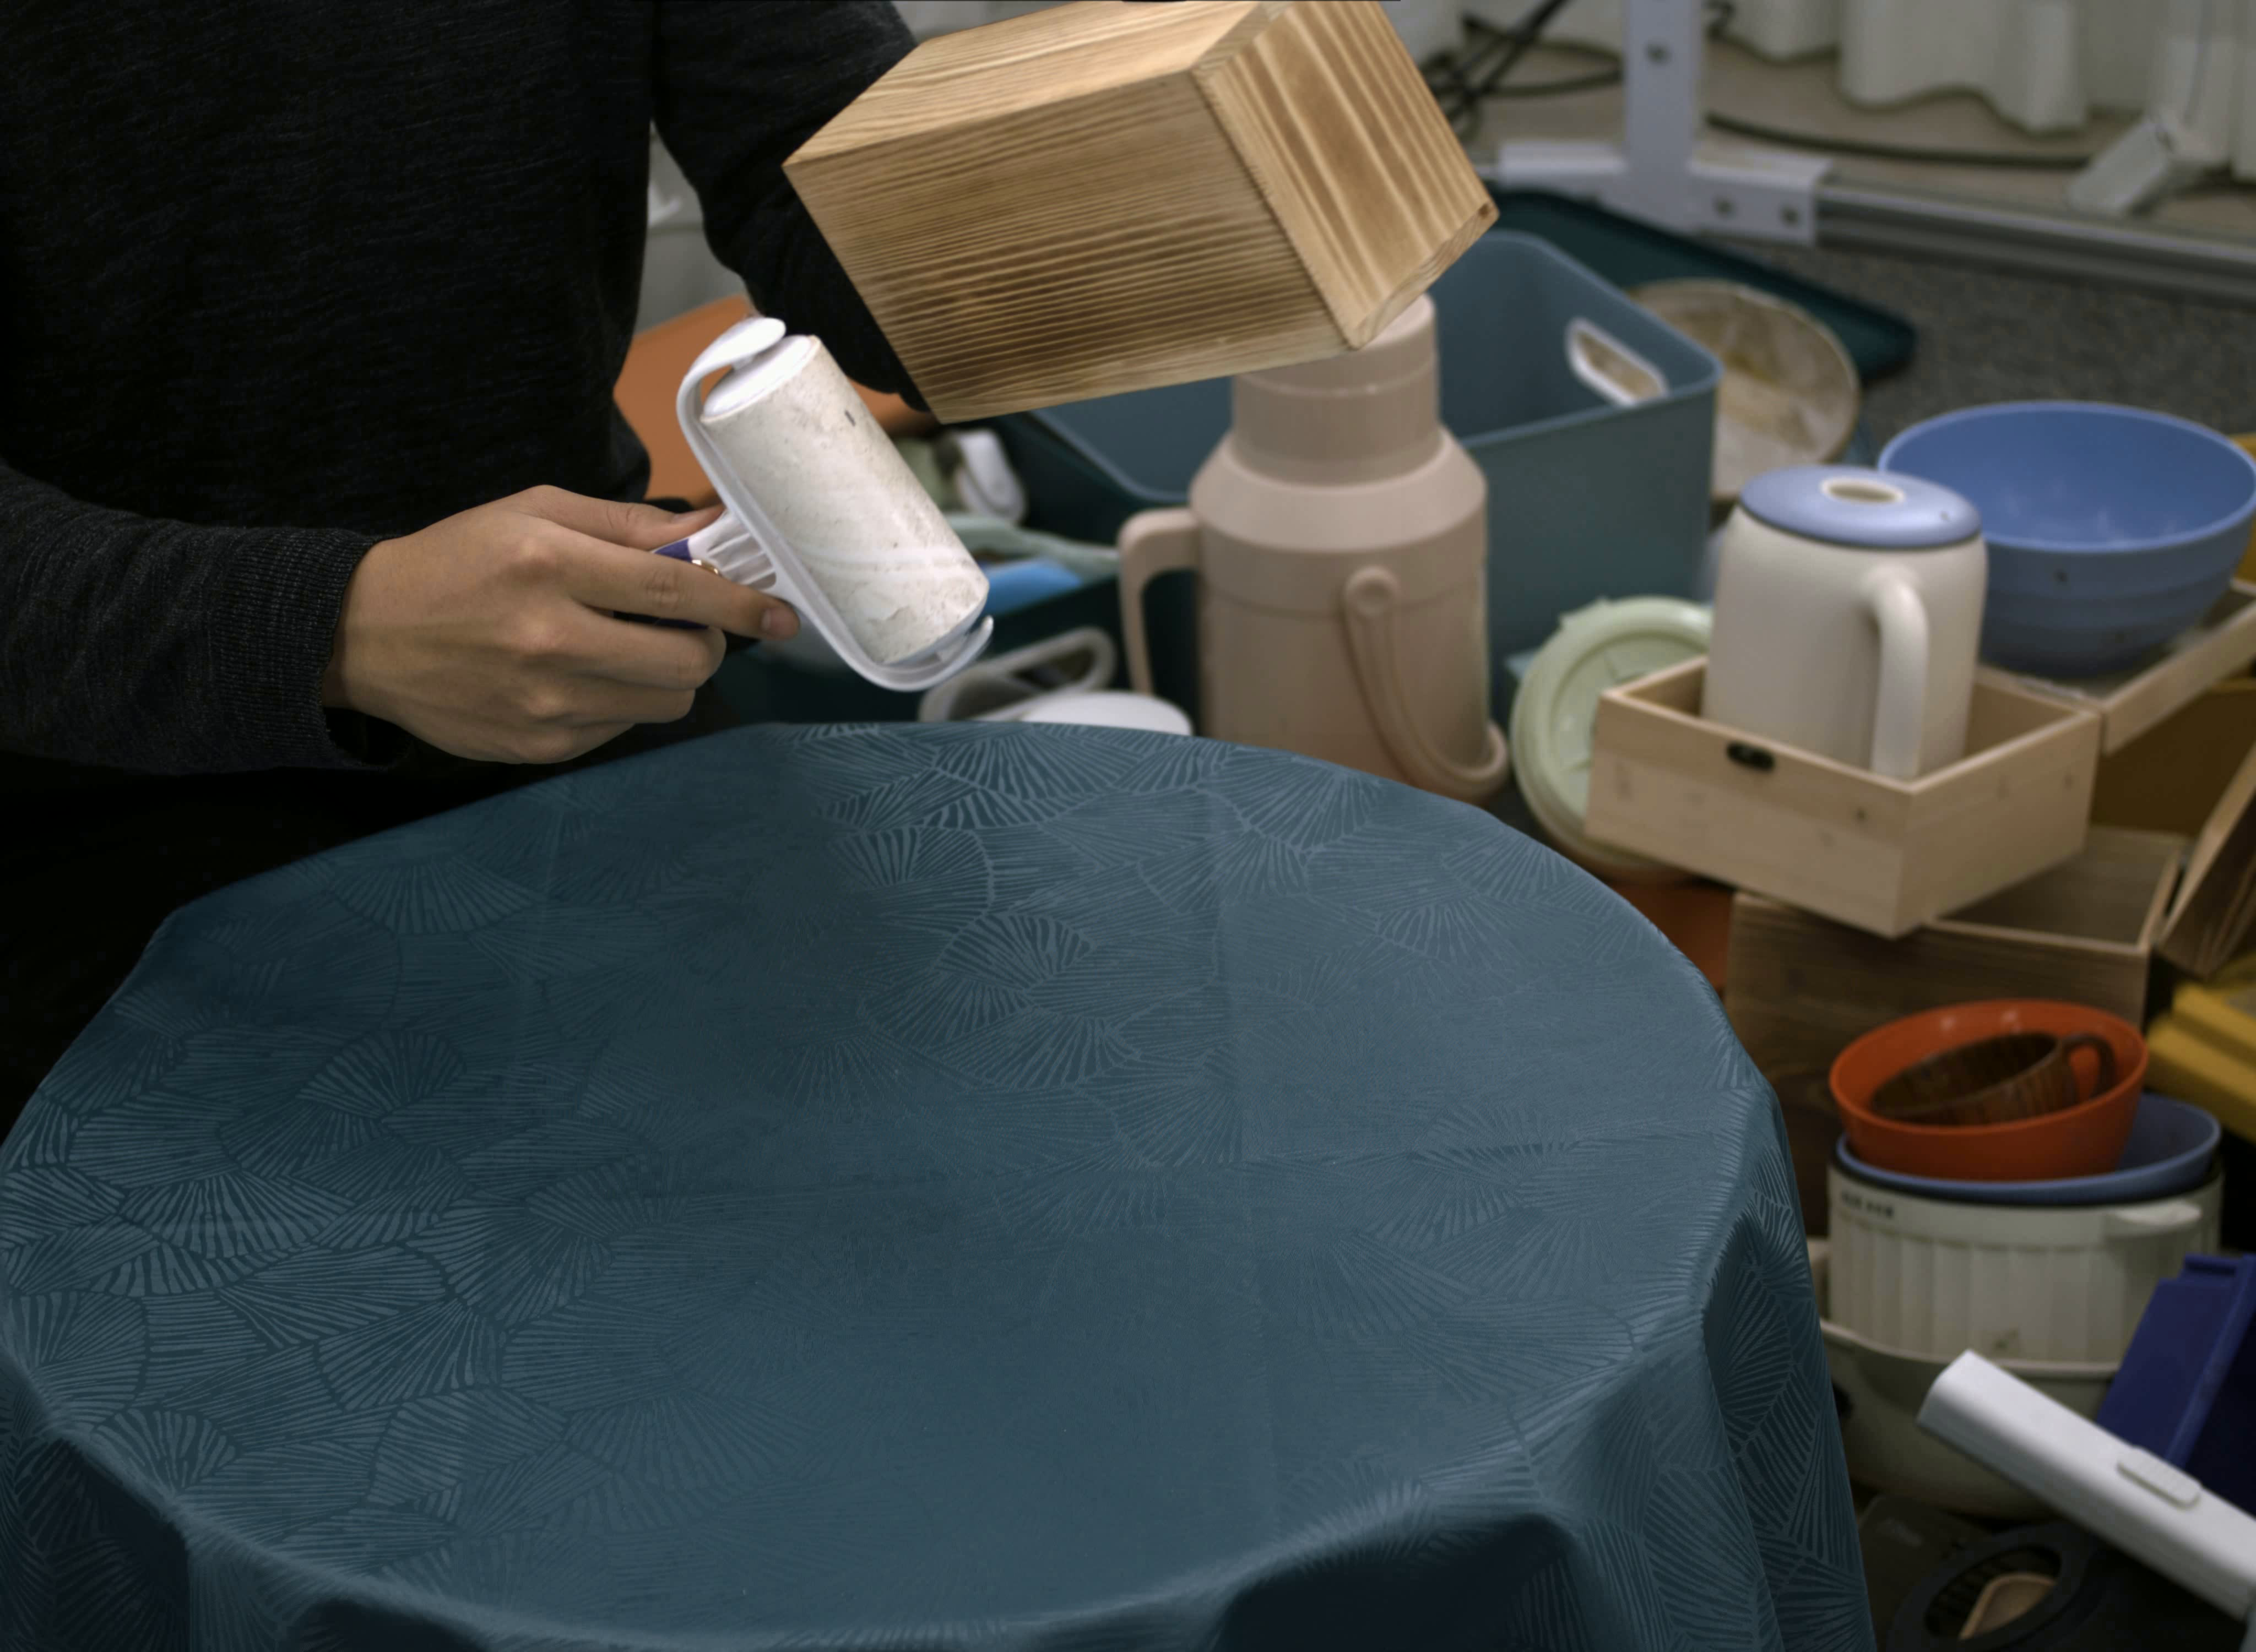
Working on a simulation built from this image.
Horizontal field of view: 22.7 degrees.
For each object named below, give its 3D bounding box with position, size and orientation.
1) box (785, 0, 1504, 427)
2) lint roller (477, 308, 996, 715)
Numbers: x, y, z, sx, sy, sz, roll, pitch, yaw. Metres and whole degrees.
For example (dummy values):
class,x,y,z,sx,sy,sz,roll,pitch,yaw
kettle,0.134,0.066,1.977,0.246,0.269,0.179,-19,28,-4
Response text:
class,x,y,z,sx,sy,sz,roll,pitch,yaw
box,0.003,-0.206,1.811,0.209,0.107,0.081,-7,32,48
lint roller,-0.144,-0.079,1.833,0.179,0.132,0.051,-28,18,17
